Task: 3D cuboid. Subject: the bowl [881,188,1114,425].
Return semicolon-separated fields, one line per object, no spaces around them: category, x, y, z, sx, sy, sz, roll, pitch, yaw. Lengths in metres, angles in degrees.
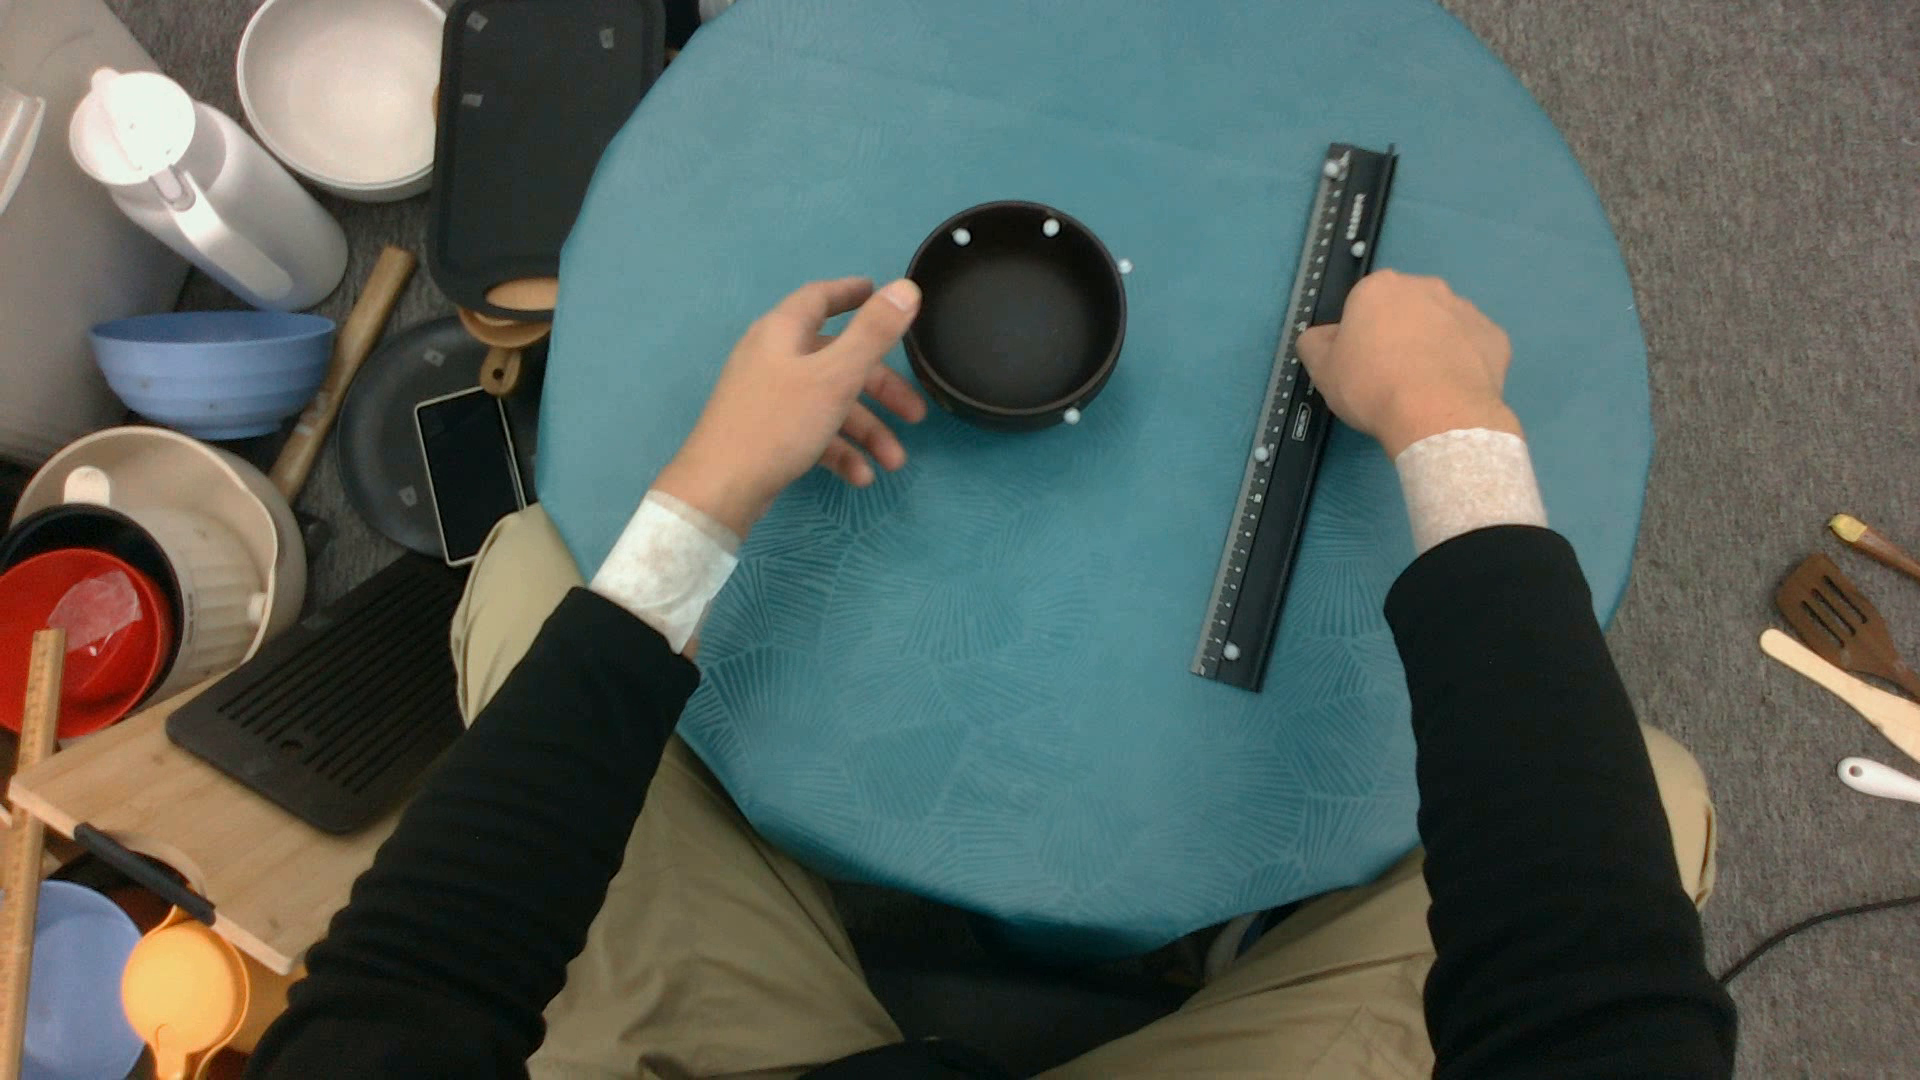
bowl;0.018;-0.115;0.715;0.118;0.069;0.118;0;77;-1

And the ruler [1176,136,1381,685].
ruler;0.173;-0.078;0.737;0.039;0.017;0.313;15;80;9
